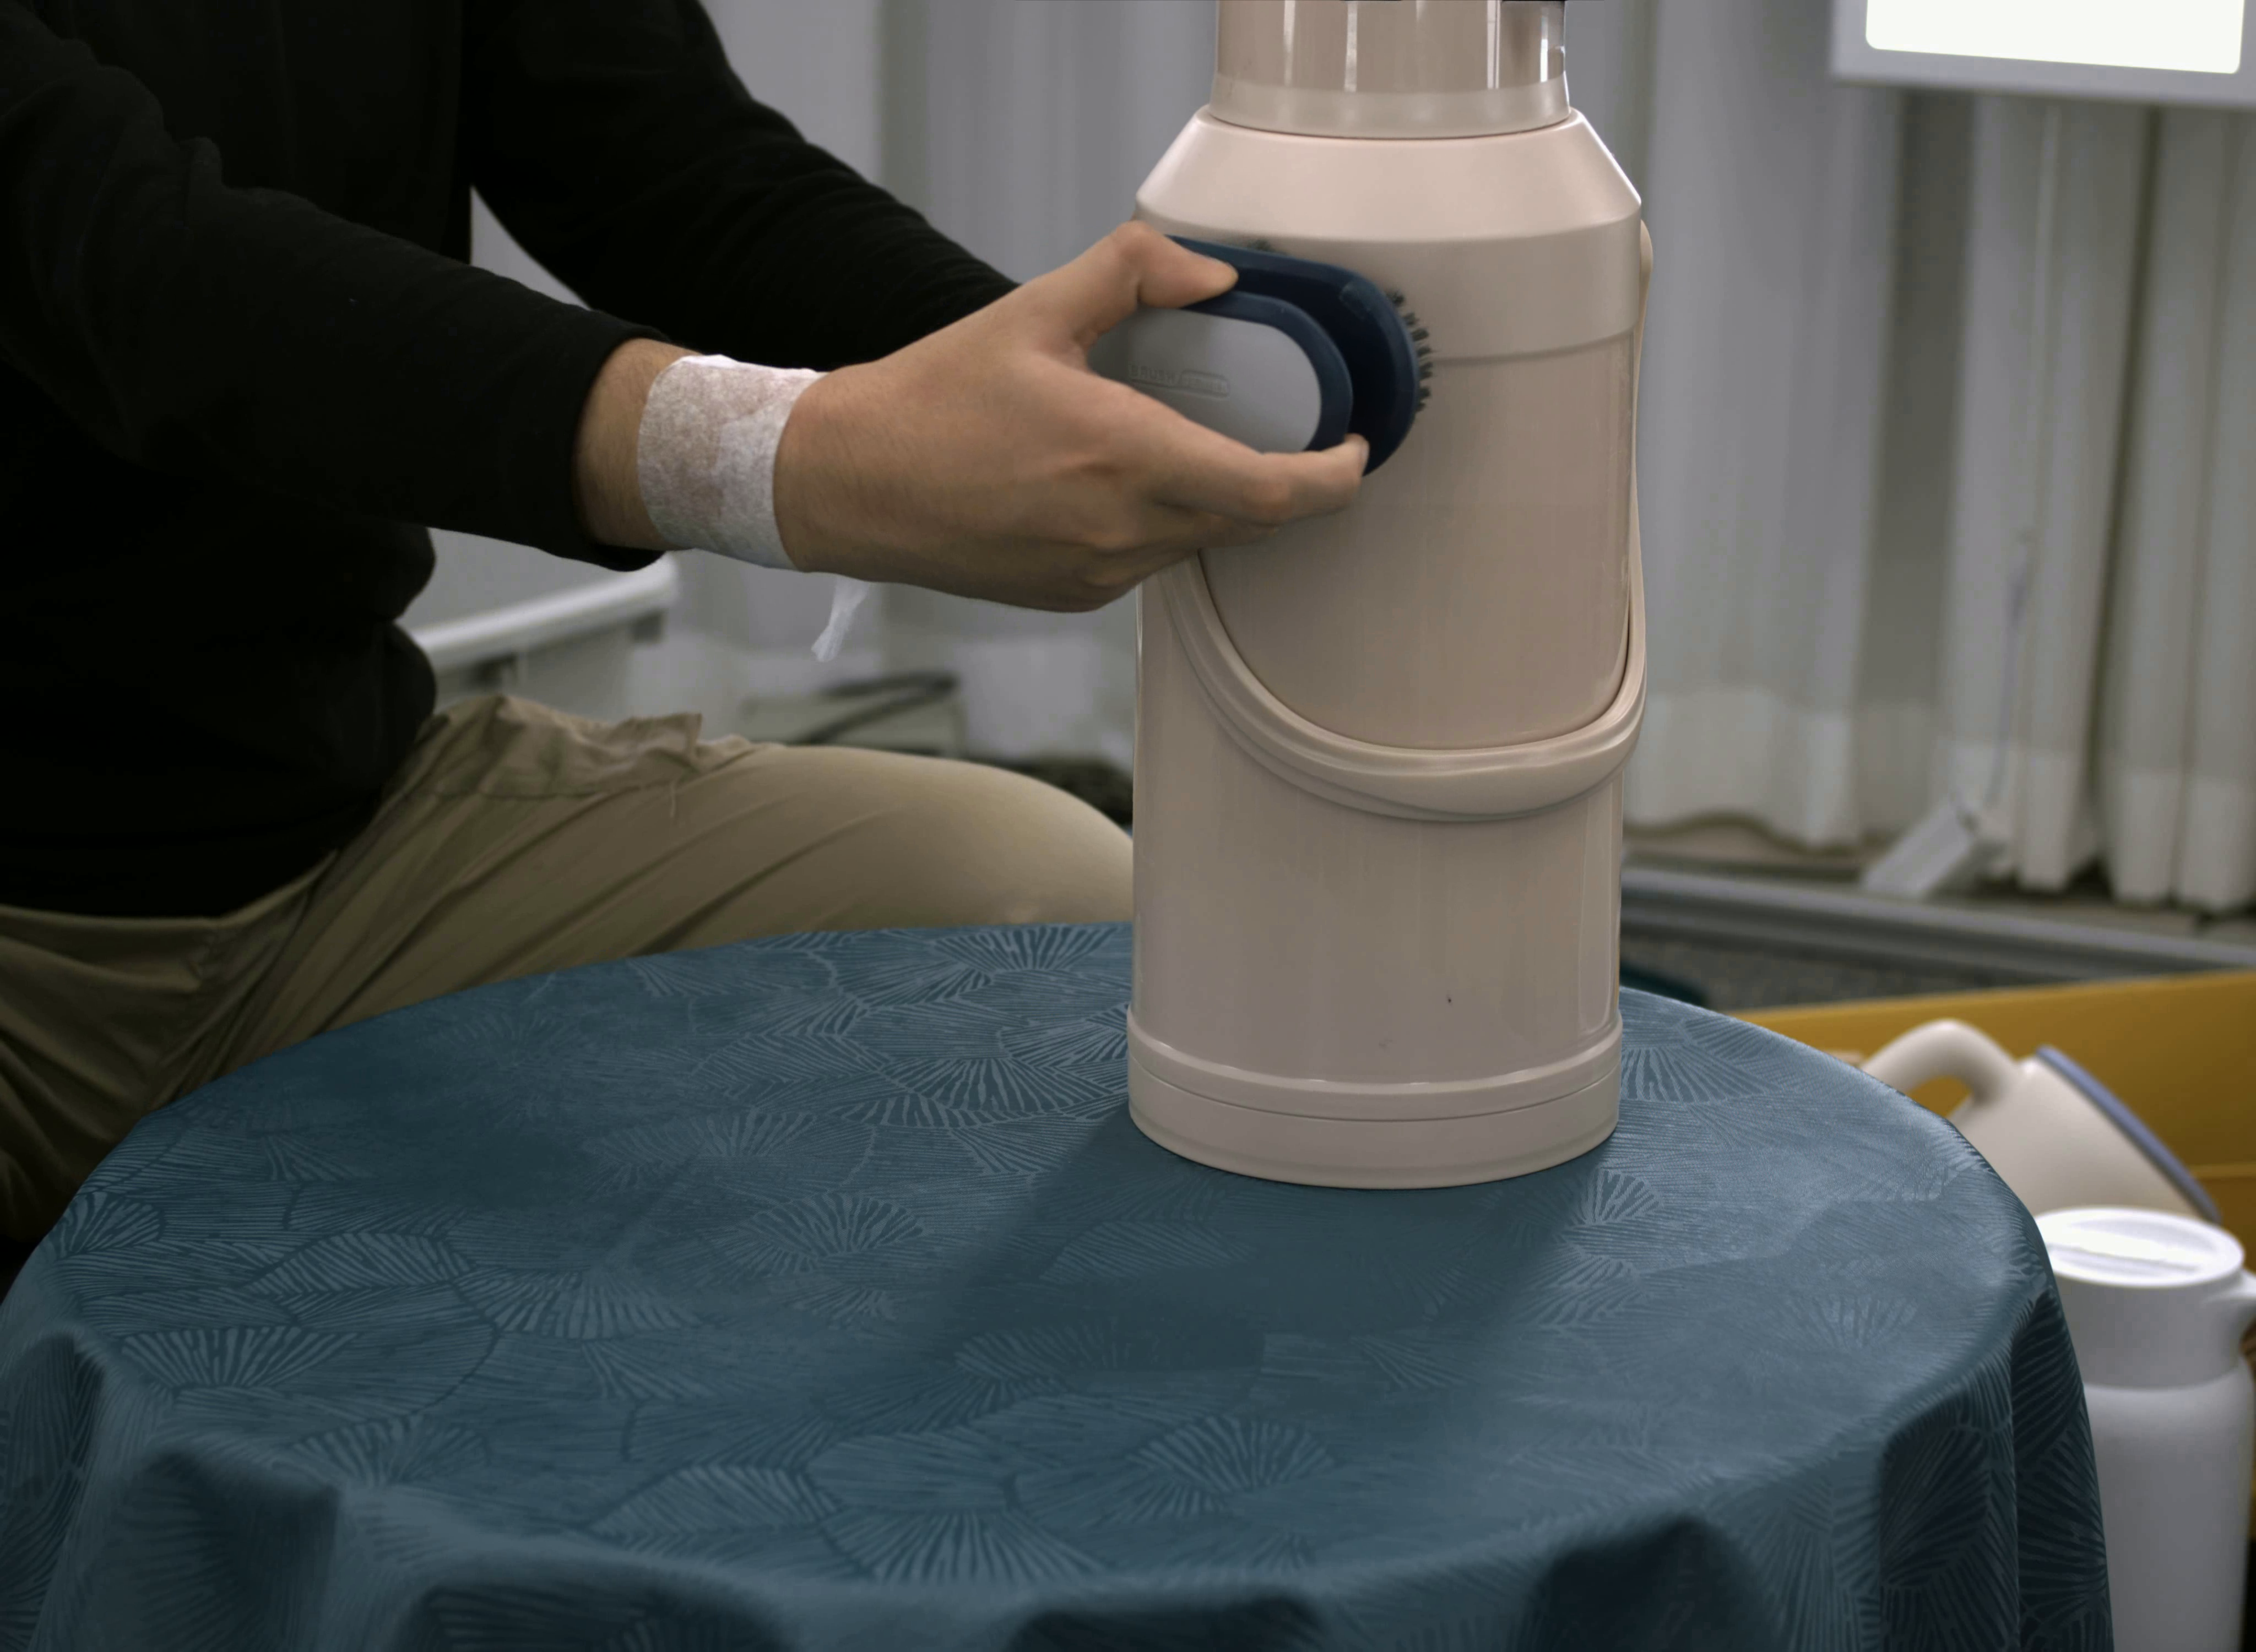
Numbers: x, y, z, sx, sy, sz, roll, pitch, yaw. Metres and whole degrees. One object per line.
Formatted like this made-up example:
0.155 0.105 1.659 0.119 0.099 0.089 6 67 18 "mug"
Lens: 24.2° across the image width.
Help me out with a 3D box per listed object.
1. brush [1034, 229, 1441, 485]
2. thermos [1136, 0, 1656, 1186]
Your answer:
0.033 -0.138 1.537 0.120 0.068 0.061 16 26 31 "brush"
0.076 -0.104 1.657 0.176 0.410 0.204 -9 19 -25 "thermos"
